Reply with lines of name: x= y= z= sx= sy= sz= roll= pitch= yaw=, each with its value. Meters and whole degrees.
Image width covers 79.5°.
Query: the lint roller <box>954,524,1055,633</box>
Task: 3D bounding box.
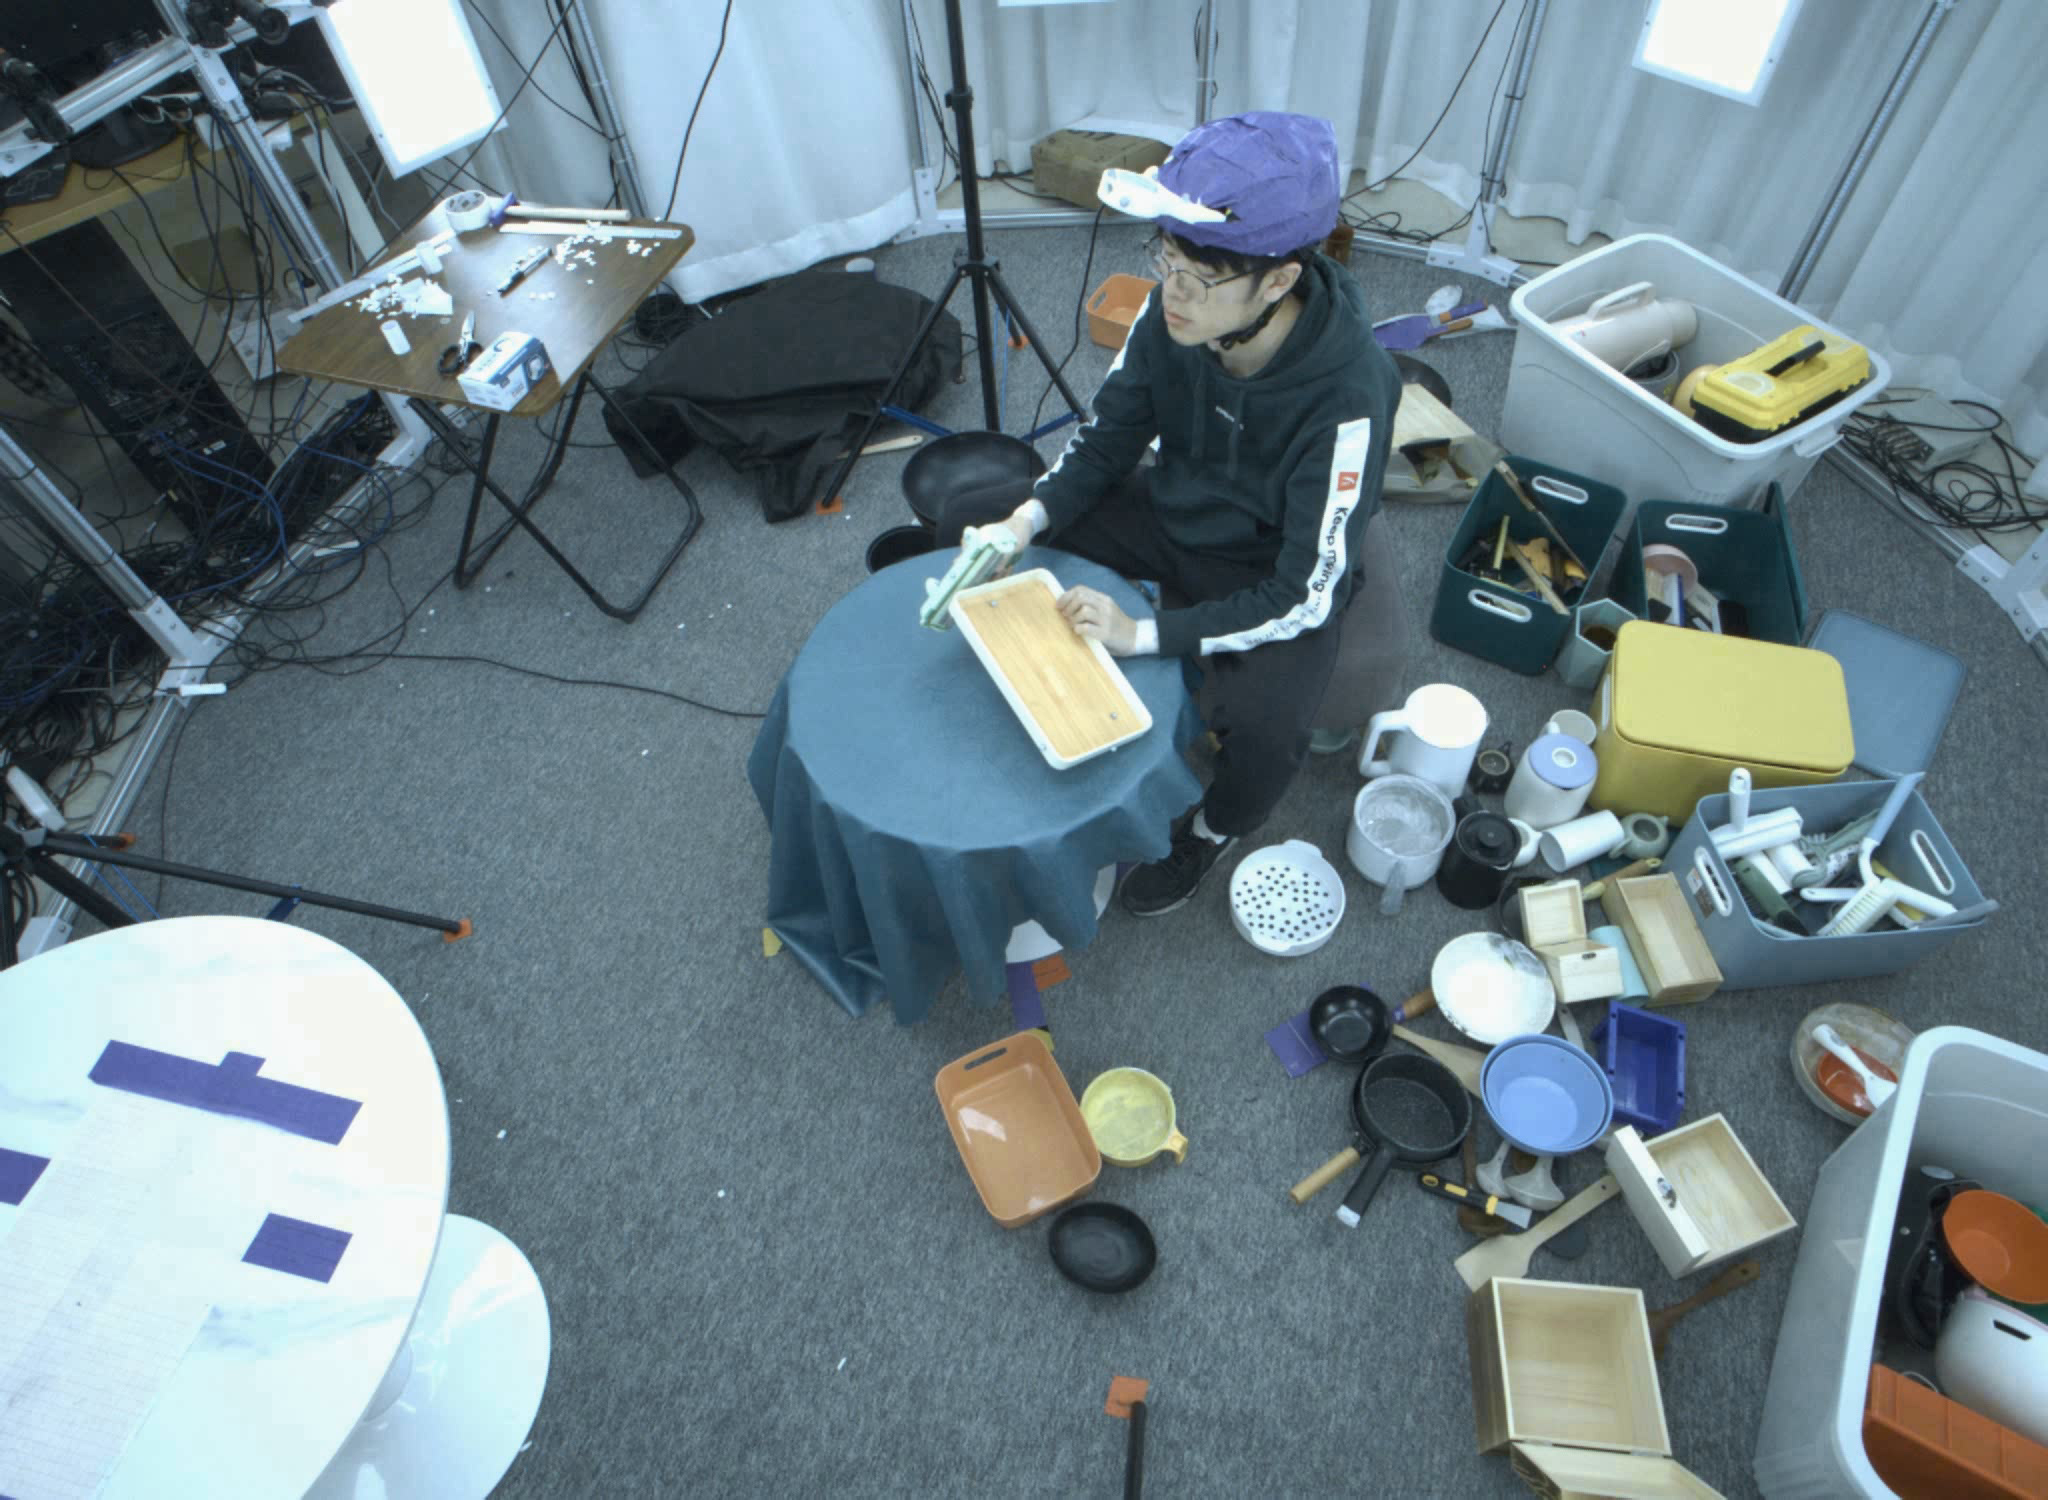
lint roller: x=-0.019 y=-0.282 z=1.824 sx=0.082 sy=0.197 sz=0.184 roll=40 pitch=41 yaw=-4

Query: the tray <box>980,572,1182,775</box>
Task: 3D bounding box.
tray: x=0.081 y=-0.115 z=1.757 sx=0.194 sy=0.027 sz=0.297 roll=-21 pitch=74 yaw=-37
